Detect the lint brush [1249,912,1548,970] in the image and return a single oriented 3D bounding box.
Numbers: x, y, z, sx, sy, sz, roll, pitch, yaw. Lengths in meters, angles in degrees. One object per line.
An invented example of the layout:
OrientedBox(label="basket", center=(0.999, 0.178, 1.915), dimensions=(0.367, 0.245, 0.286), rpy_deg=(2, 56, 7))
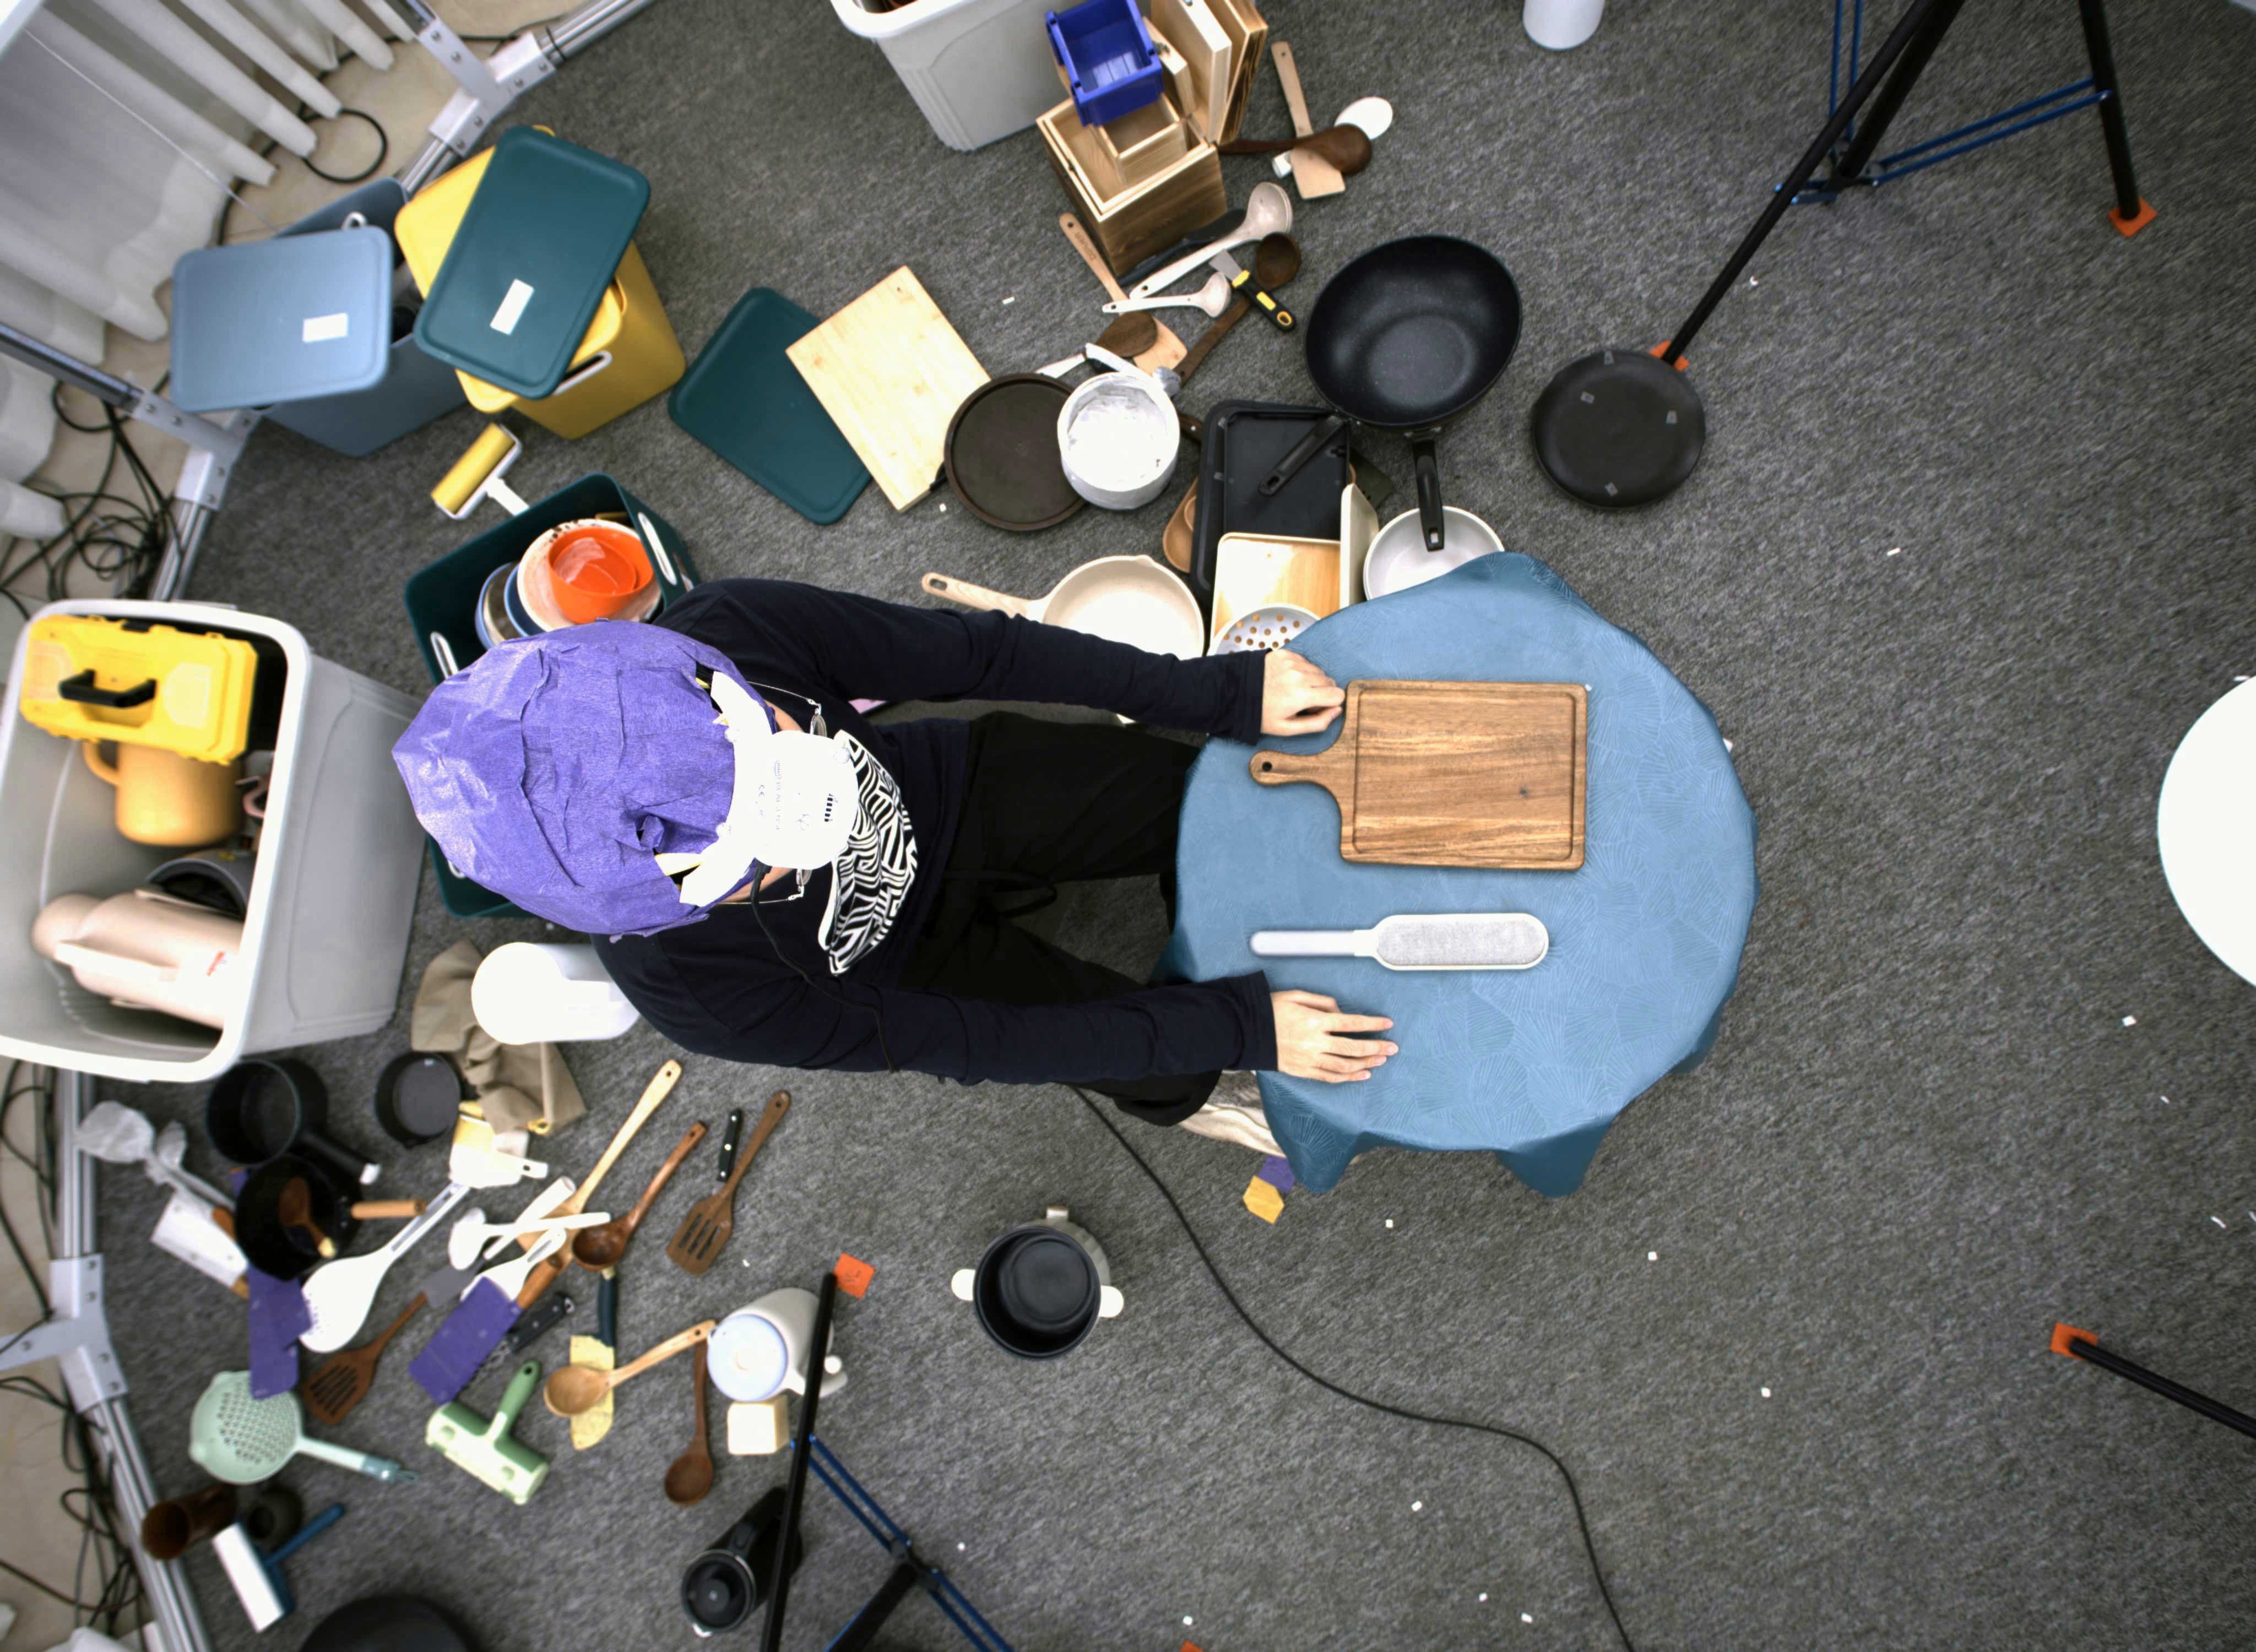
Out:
OrientedBox(label="lint brush", center=(0.281, 0.118, 1.442), dimensions=(0.310, 0.021, 0.060), rpy_deg=(-1, 91, 11))

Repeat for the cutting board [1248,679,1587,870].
OrientedBox(label="cutting board", center=(0.302, -0.059, 1.451), dimensions=(0.353, 0.023, 0.200), rpy_deg=(2, 87, 11))
